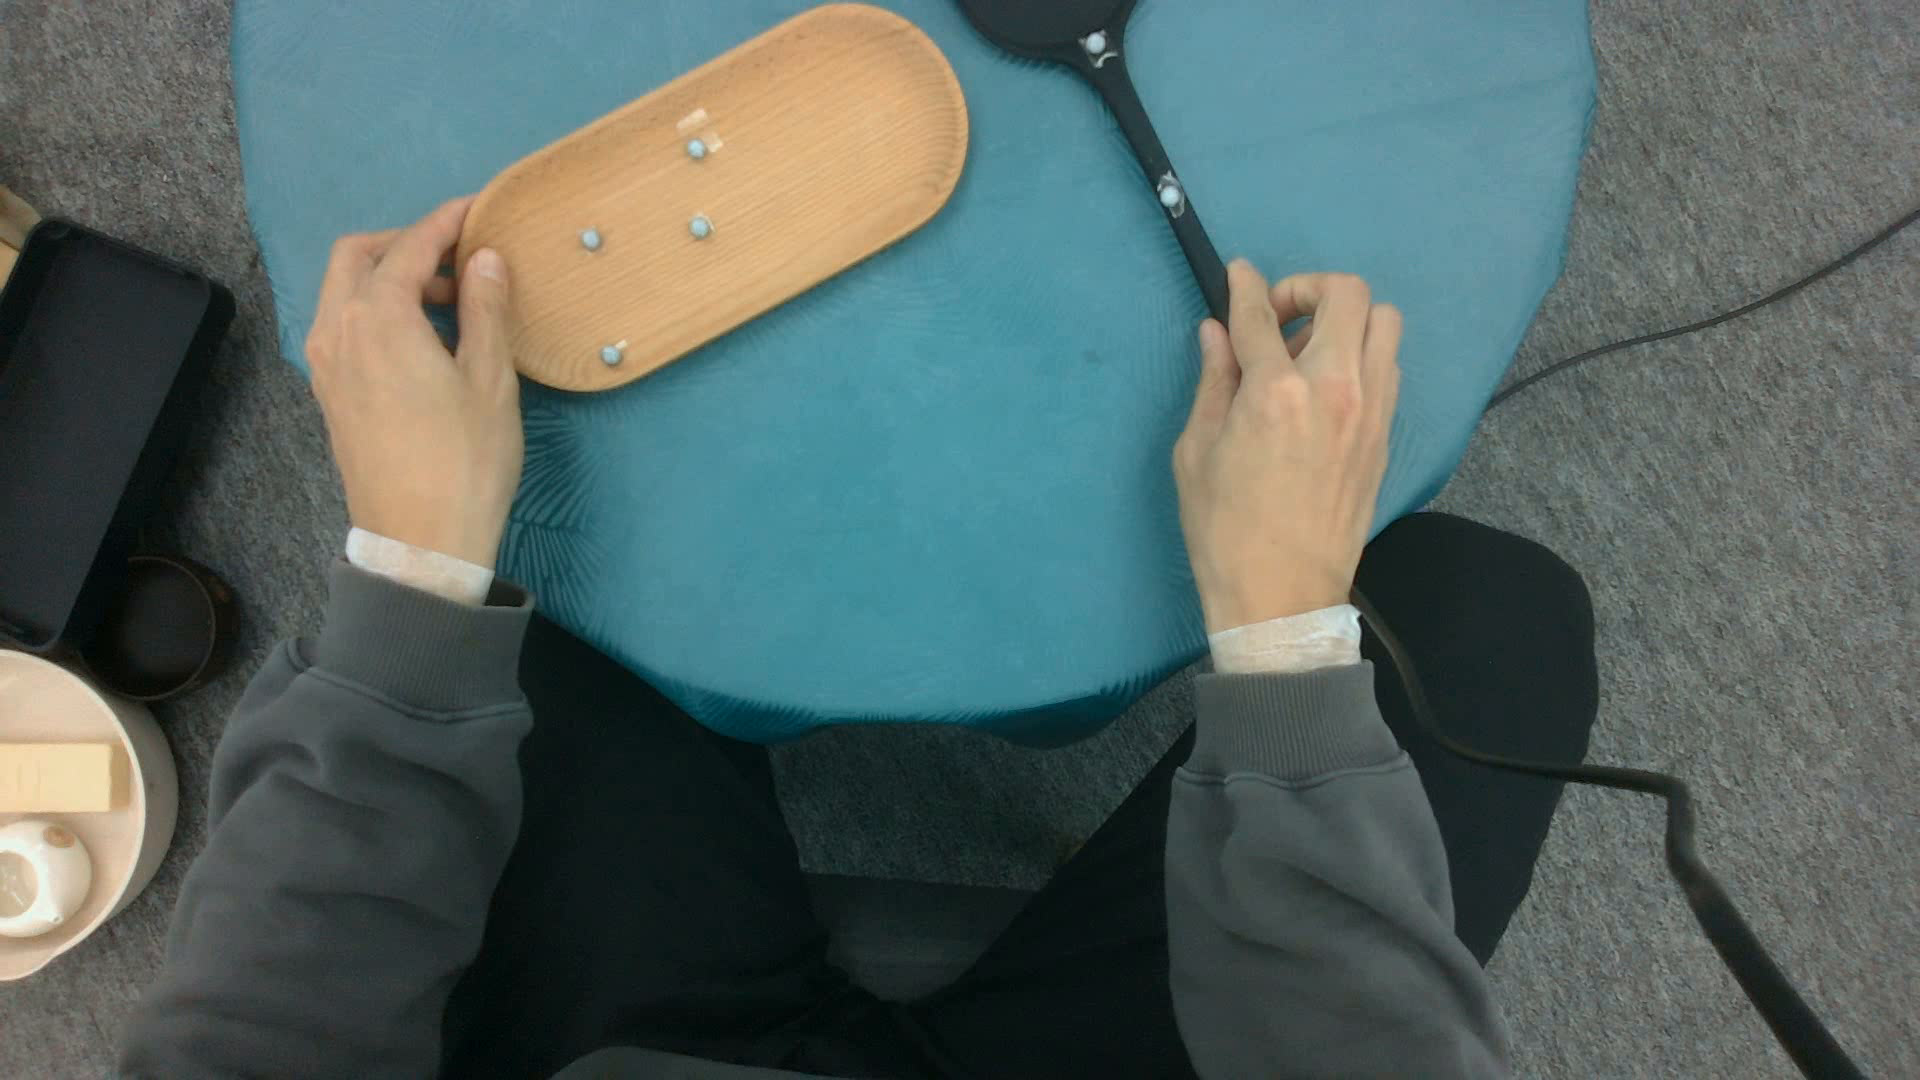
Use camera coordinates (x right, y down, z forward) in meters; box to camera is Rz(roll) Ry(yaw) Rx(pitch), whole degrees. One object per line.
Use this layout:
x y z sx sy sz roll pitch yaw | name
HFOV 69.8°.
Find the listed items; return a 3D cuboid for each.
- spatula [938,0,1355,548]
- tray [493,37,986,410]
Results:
0.095 -0.142 0.603 0.099 0.040 0.326 -27 87 6 | spatula
-0.097 -0.139 0.612 0.231 0.020 0.101 -29 95 -3 | tray
